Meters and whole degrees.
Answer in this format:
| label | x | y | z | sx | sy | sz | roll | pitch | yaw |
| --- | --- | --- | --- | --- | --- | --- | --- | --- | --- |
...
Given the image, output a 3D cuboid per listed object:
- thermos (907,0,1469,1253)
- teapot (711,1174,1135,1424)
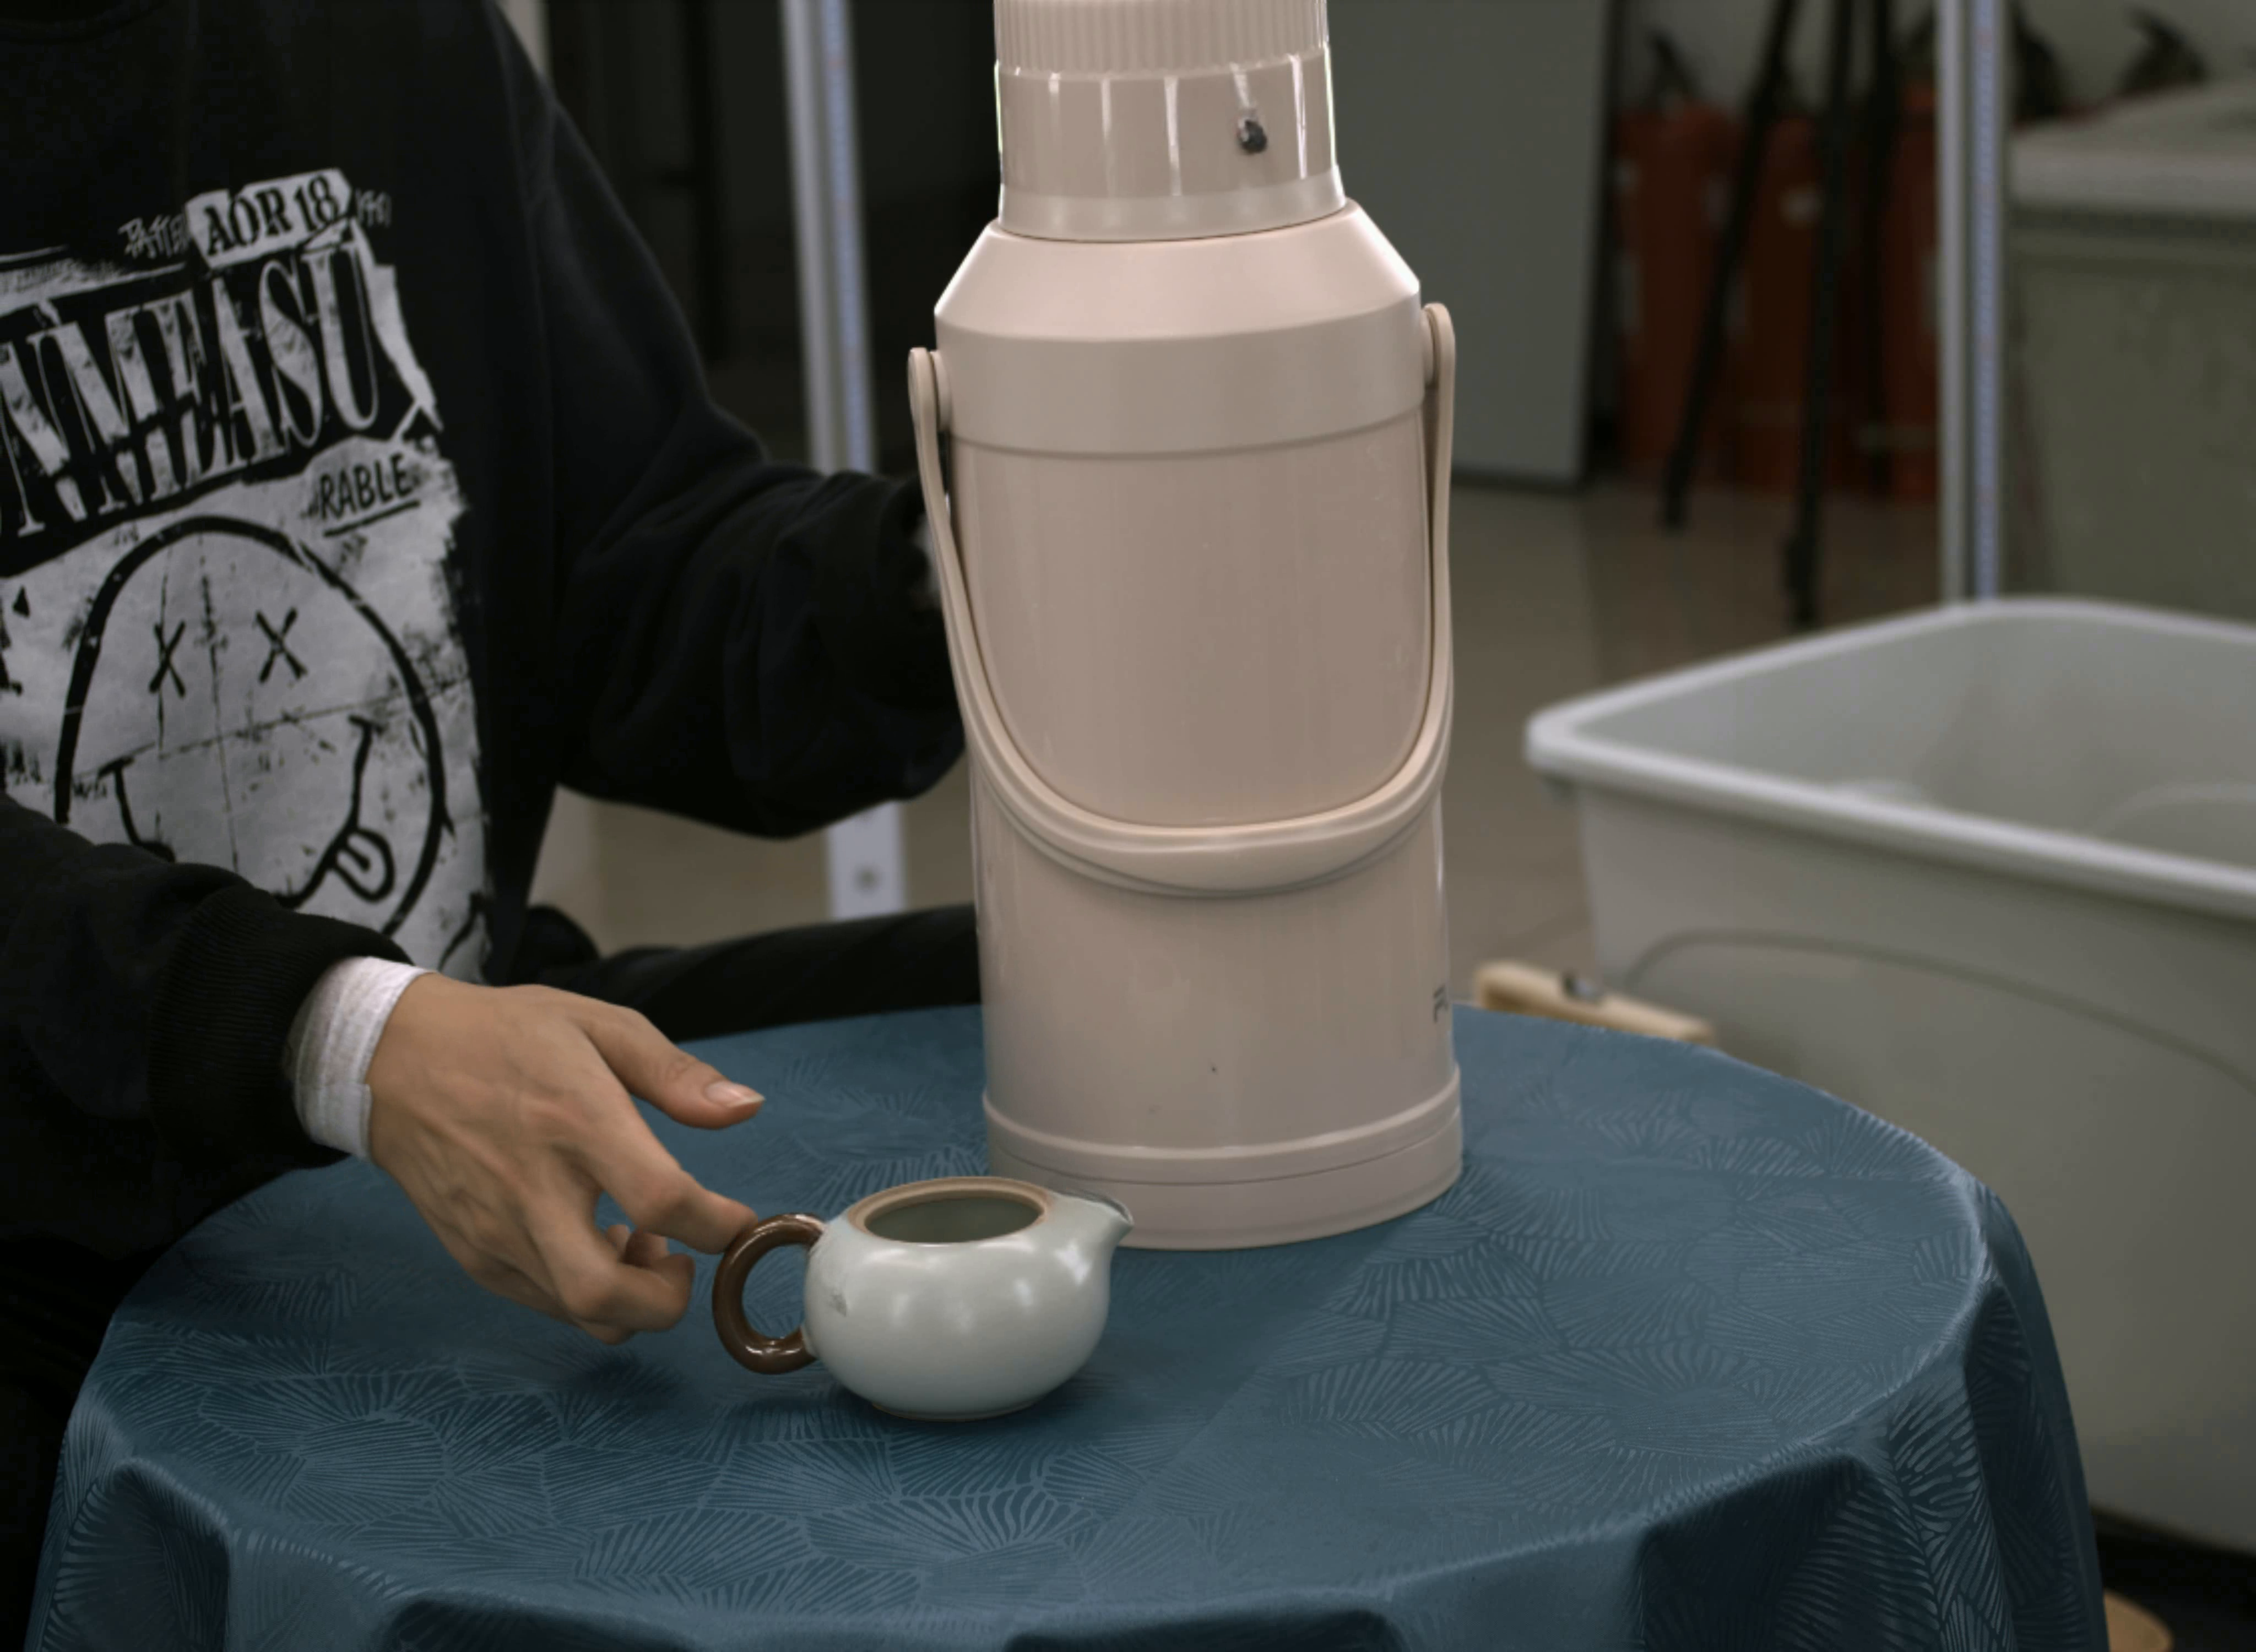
| label | x | y | z | sx | sy | sz | roll | pitch | yaw |
| --- | --- | --- | --- | --- | --- | --- | --- | --- | --- |
| thermos | 0.020 | -0.081 | 1.753 | 0.172 | 0.410 | 0.208 | -7 | 14 | -8 |
| teapot | -0.060 | 0.140 | 1.595 | 0.126 | 0.060 | 0.092 | -2 | 17 | 3 |
